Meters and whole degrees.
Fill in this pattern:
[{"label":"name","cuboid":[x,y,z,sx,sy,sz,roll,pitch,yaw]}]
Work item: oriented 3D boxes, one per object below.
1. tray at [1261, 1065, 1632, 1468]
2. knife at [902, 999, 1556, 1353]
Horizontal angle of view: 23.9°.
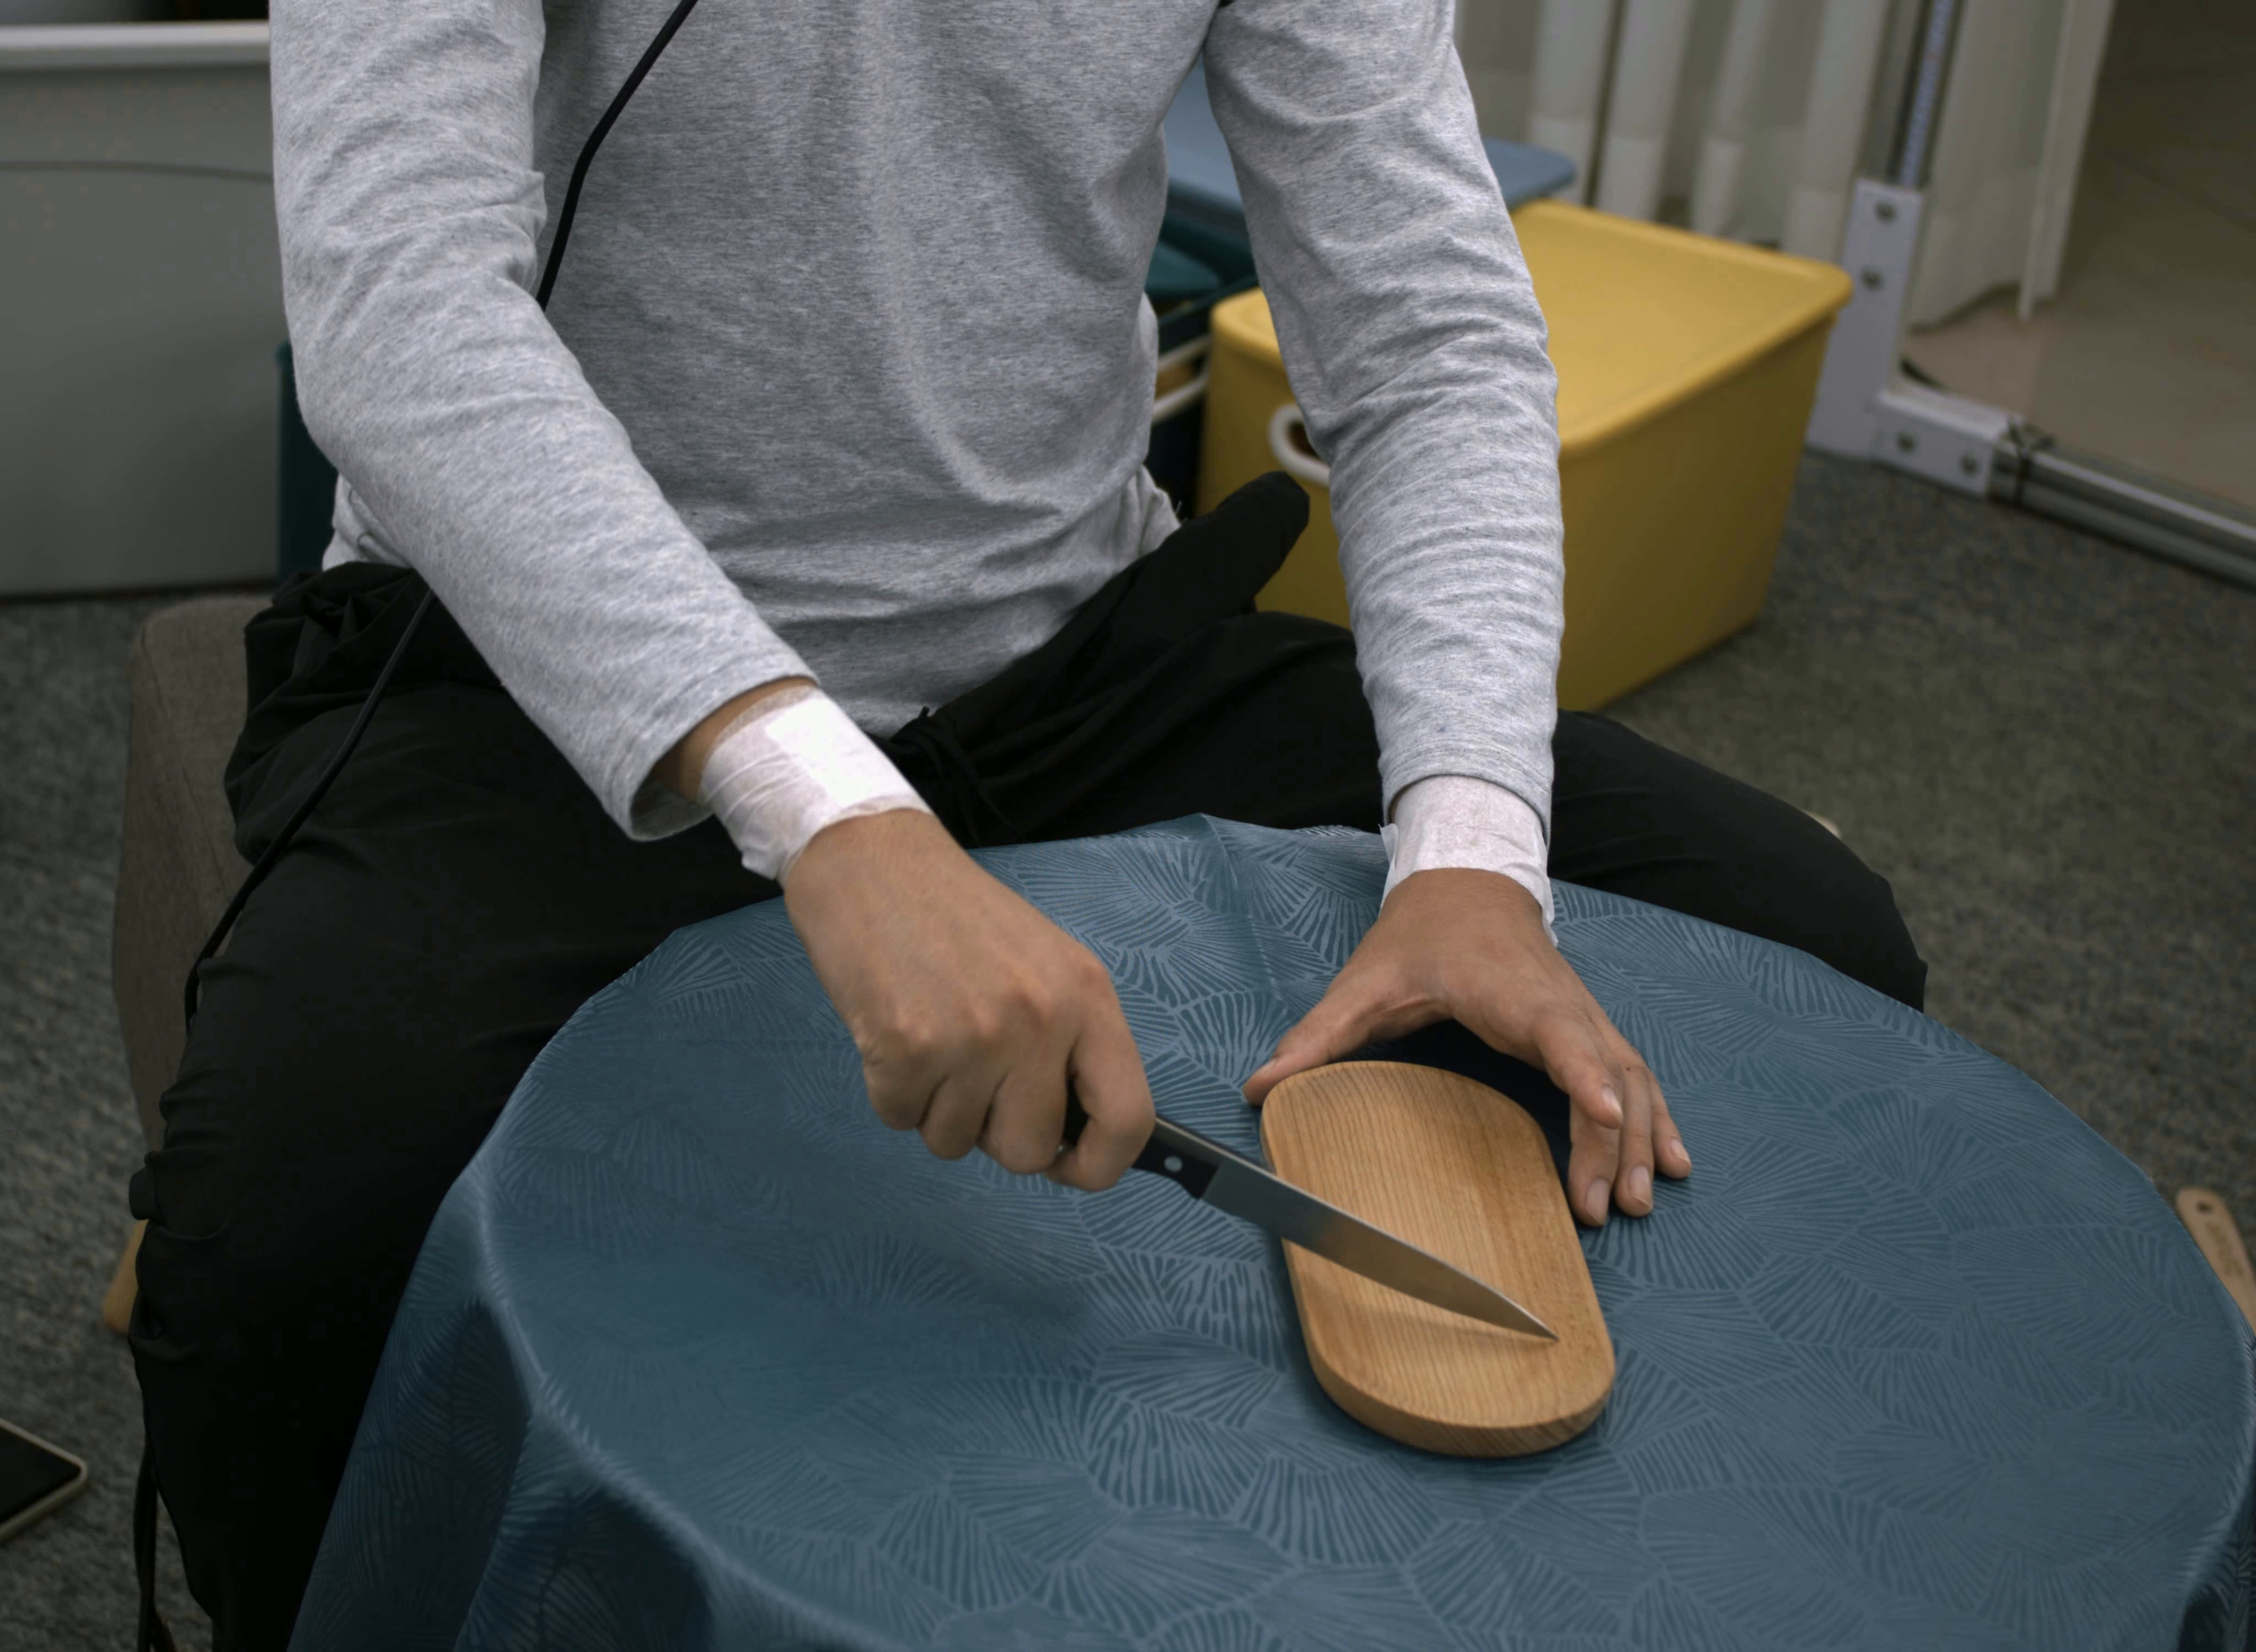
[{"label":"tray","cuboid":[0.103,0.144,1.772,0.101,0.020,0.233,1,29,-8]},{"label":"knife","cuboid":[0.036,0.115,1.728,0.237,0.024,0.016,27,33,-2]}]
